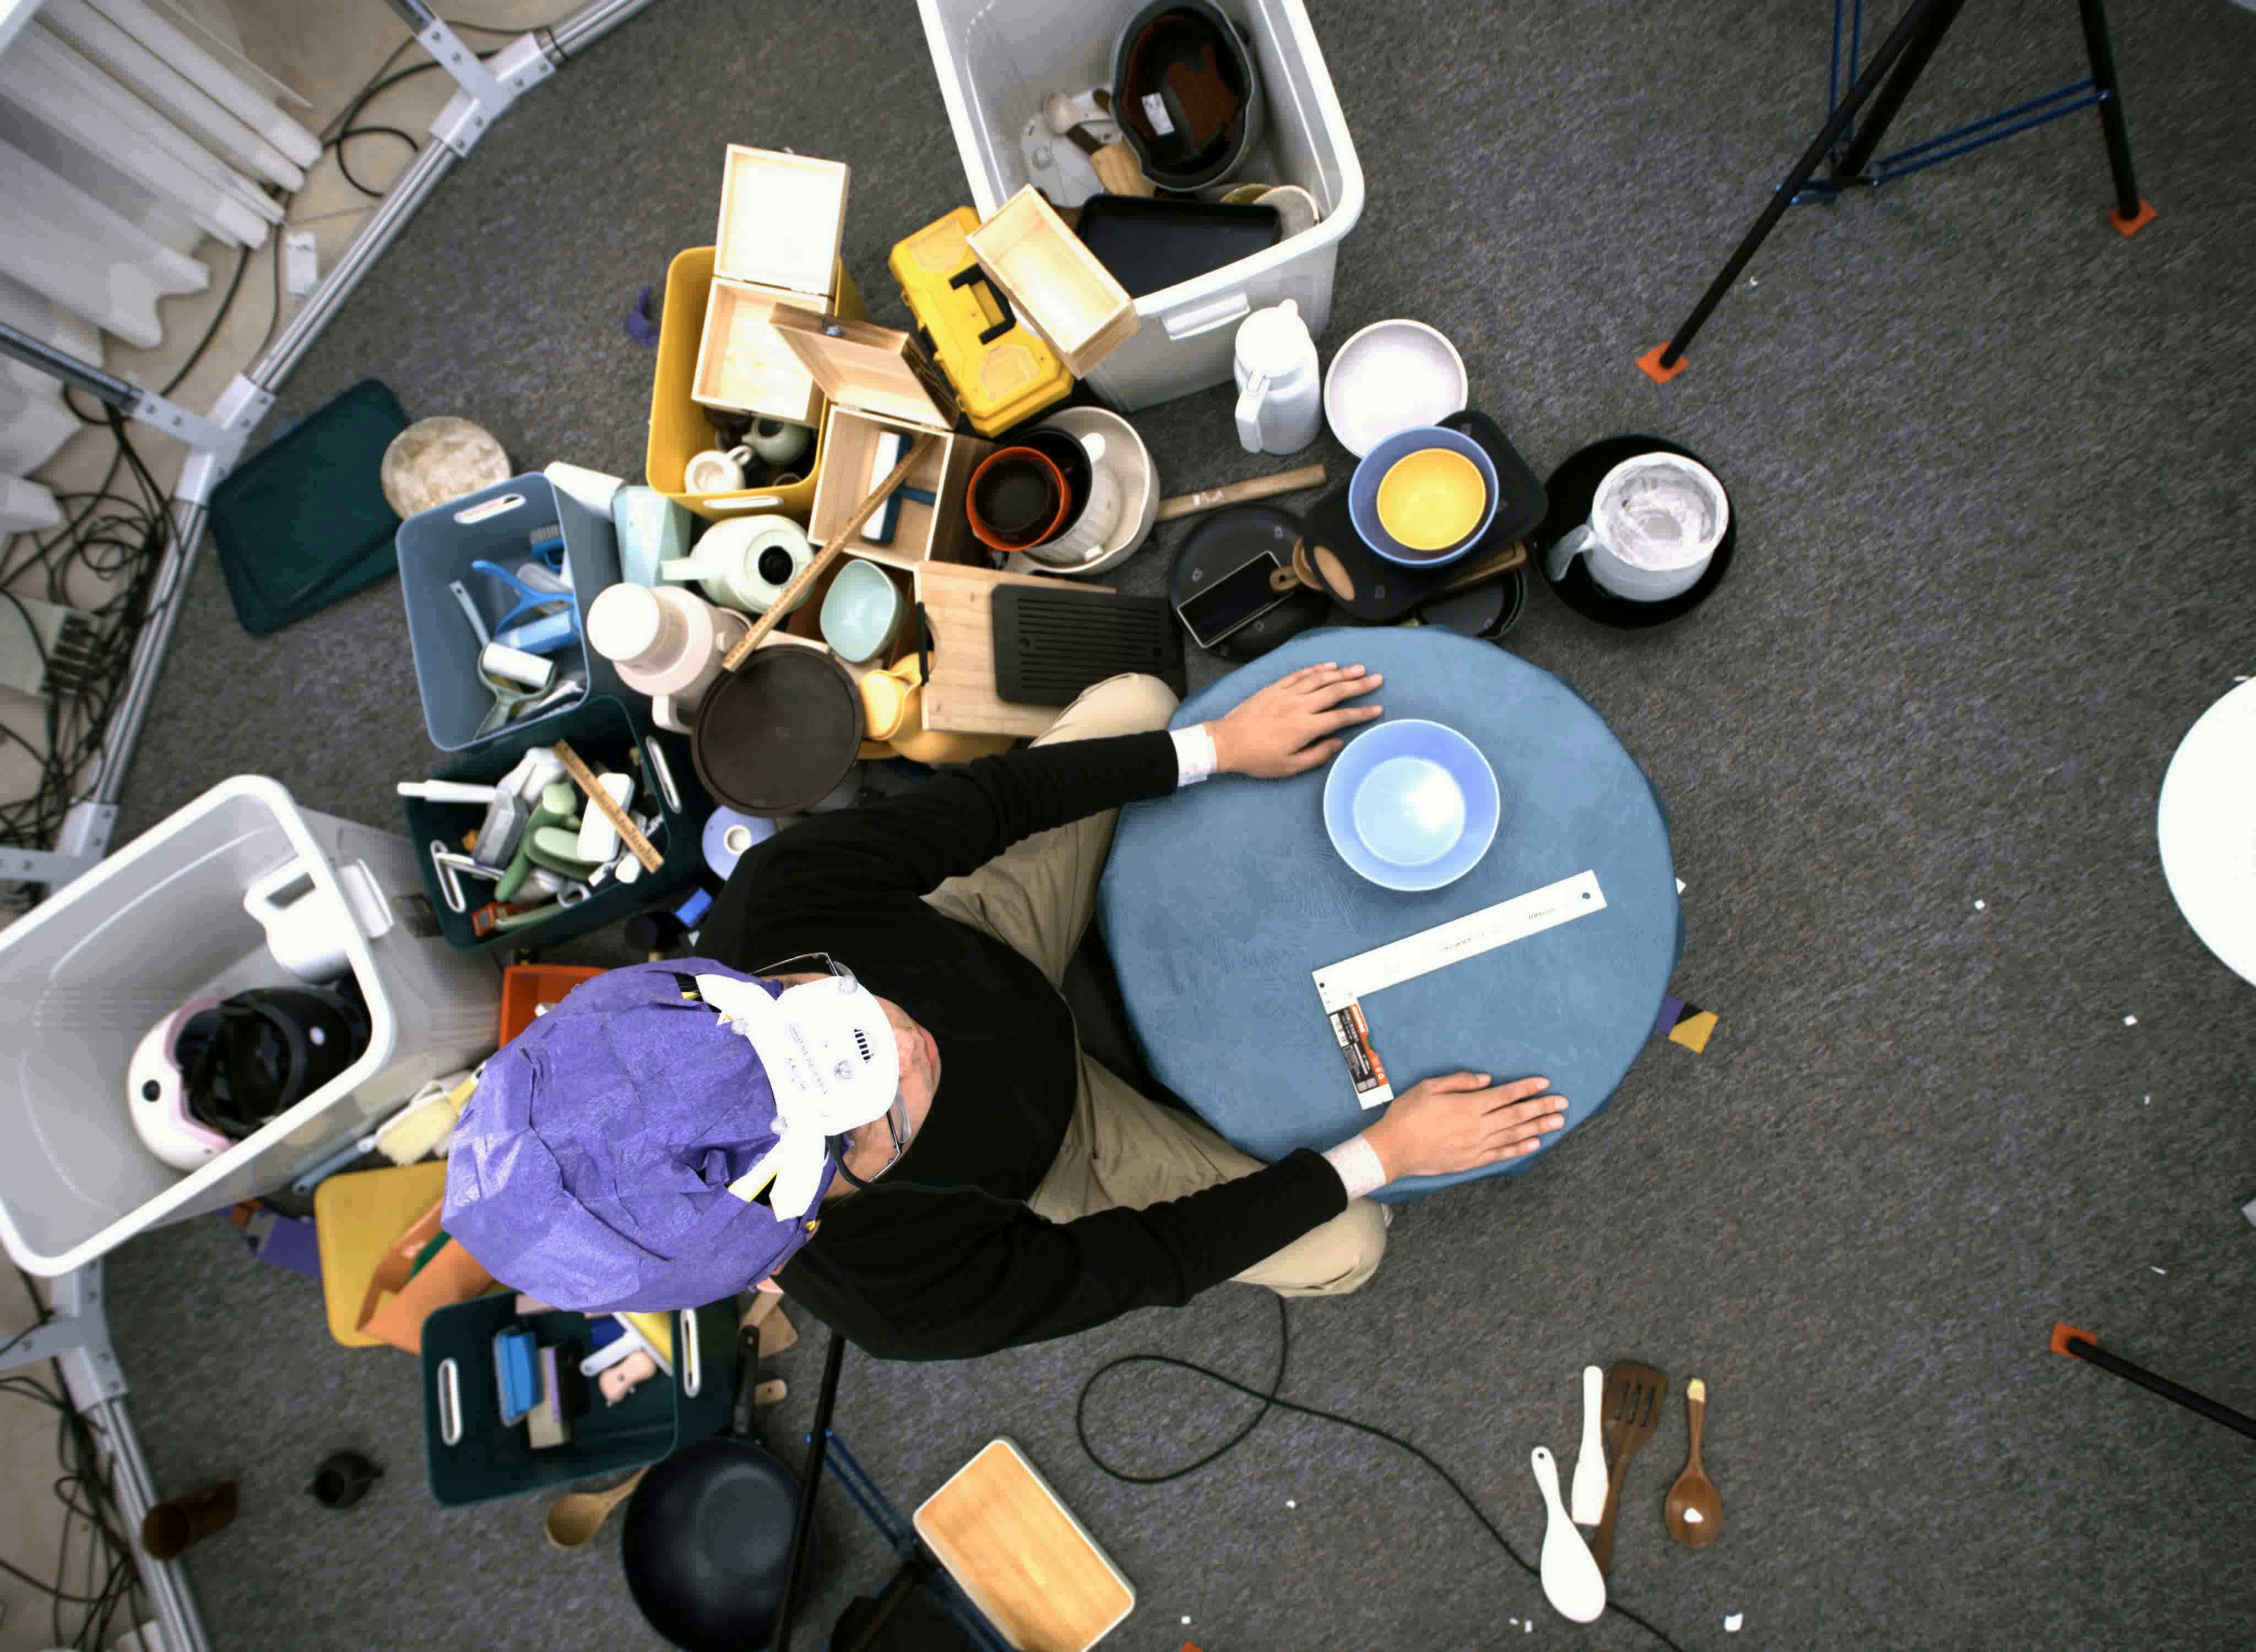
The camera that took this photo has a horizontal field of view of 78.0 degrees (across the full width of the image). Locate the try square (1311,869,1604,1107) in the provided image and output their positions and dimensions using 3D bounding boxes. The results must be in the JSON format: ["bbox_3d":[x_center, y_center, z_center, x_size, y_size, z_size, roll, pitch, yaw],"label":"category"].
[{"bbox_3d":[0.360,0.168,1.437,0.314,0.016,0.151,-21,86,8],"label":"try square"}]

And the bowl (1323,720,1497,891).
[{"bbox_3d":[0.290,-0.020,1.426,0.177,0.070,0.175,-1,87,10],"label":"bowl"}]
